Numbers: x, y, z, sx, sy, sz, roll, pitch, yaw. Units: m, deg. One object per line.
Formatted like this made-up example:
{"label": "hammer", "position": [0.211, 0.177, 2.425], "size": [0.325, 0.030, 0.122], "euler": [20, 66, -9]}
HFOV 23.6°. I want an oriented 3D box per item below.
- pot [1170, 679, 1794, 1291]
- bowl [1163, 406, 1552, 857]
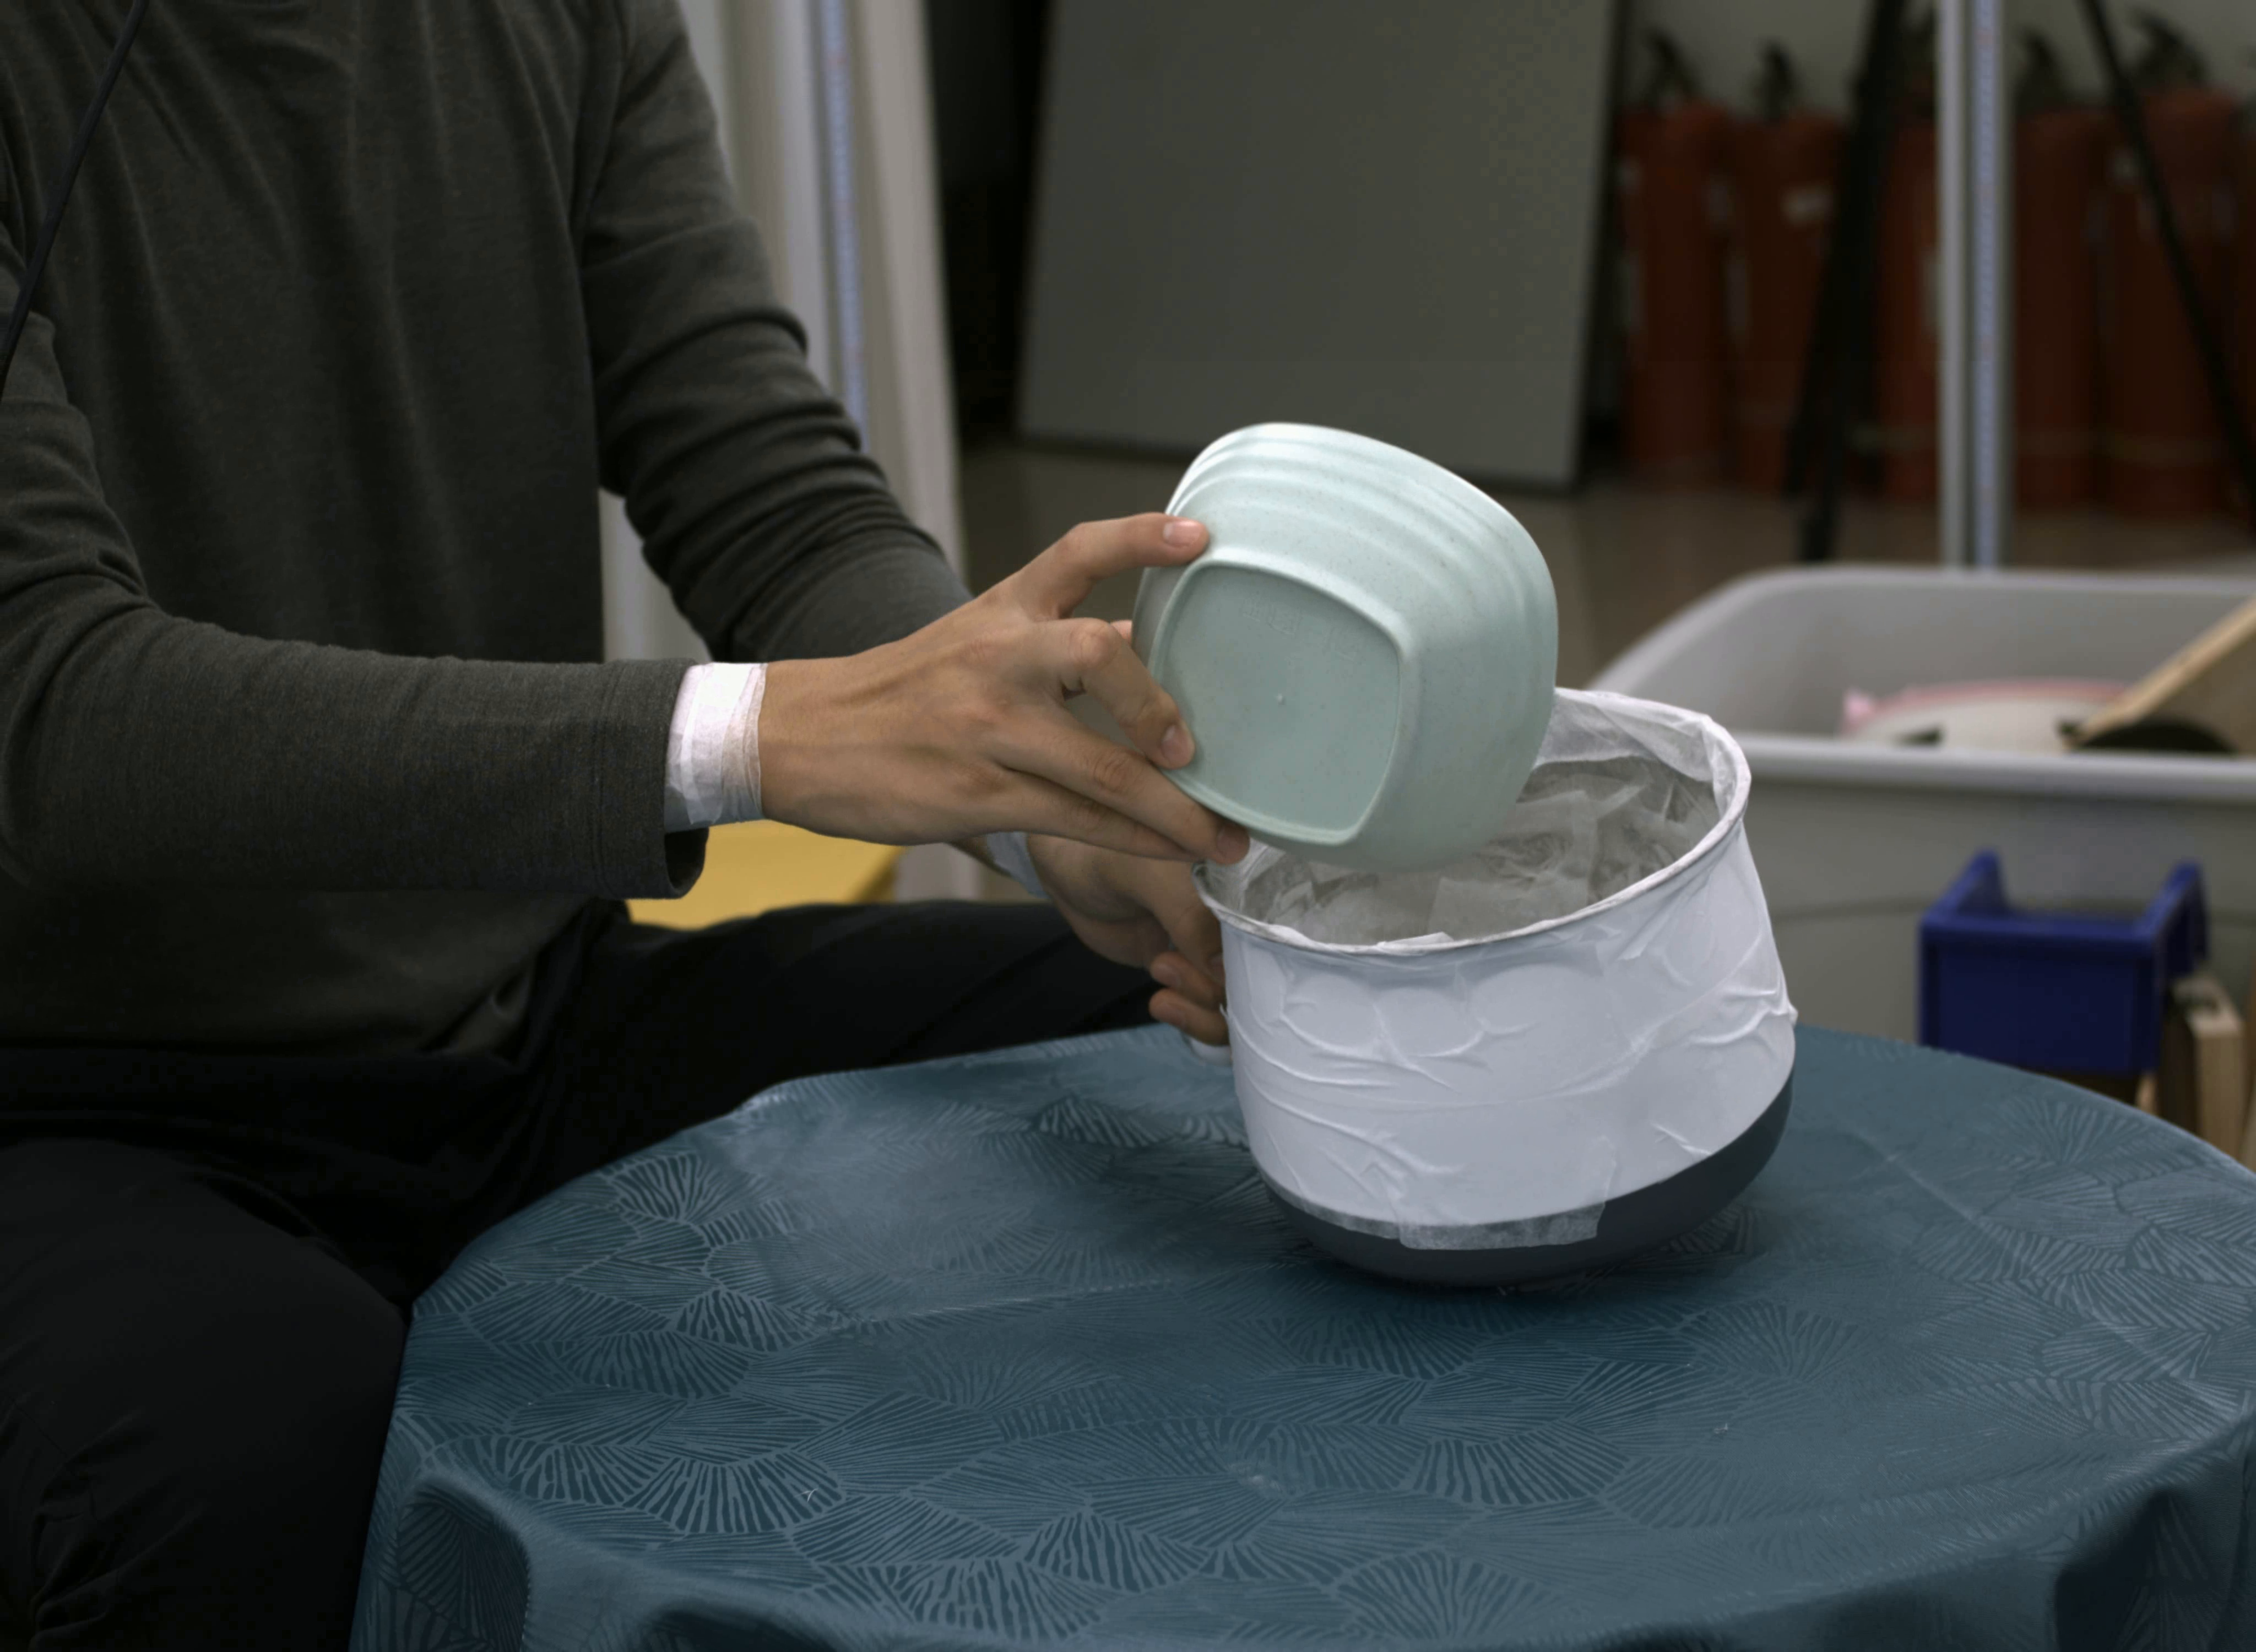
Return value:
{"label": "pot", "position": [0.097, 0.046, 1.704], "size": [0.236, 0.137, 0.176], "euler": [13, 34, 45]}
{"label": "bowl", "position": [0.060, -0.049, 1.657], "size": [0.058, 0.152, 0.153], "euler": [-33, 28, -35]}
